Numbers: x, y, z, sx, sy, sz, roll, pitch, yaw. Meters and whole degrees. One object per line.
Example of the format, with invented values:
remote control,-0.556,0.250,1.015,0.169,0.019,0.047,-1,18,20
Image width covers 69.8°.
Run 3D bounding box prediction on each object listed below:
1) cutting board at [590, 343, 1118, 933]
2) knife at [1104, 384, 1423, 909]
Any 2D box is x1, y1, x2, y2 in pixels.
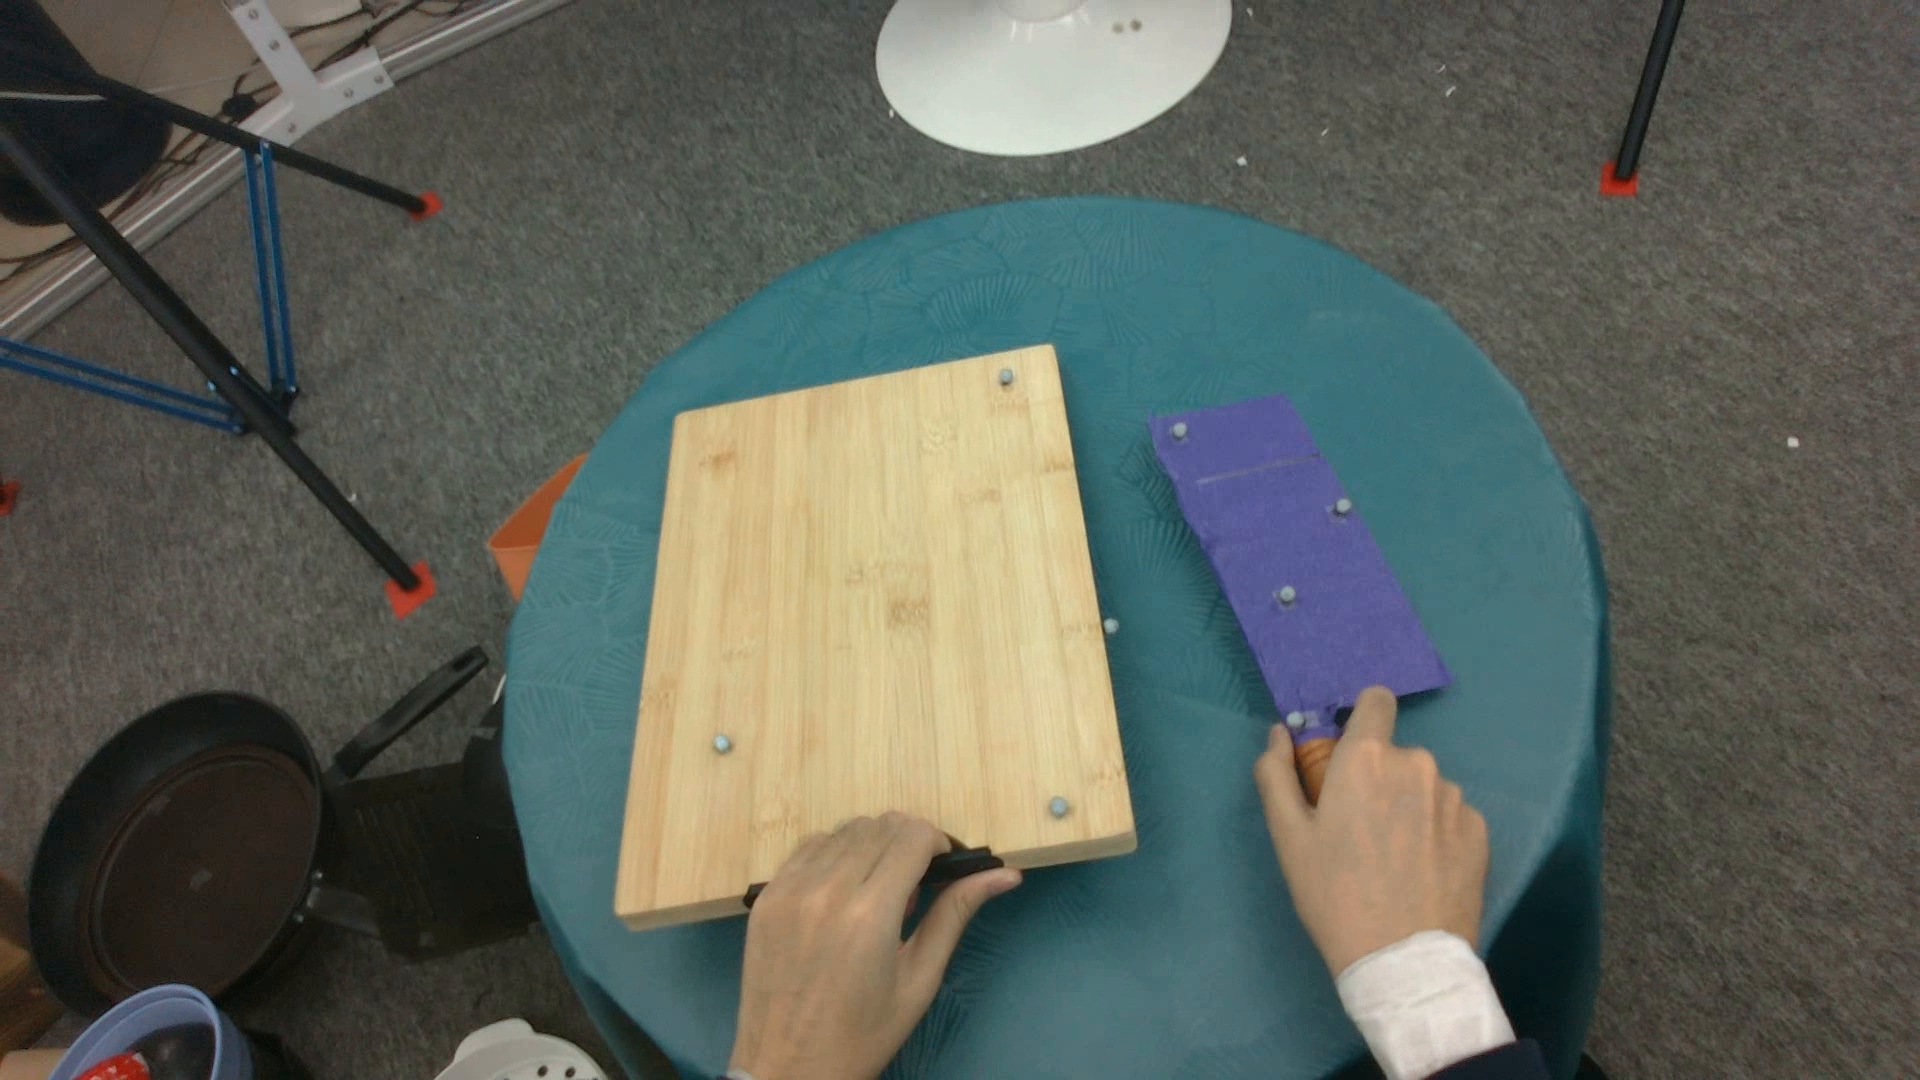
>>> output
cutting board,-0.060,0.030,0.737,0.250,0.023,0.350,-11,47,4
knife,0.175,0.031,0.704,0.104,0.032,0.316,-15,53,-7
